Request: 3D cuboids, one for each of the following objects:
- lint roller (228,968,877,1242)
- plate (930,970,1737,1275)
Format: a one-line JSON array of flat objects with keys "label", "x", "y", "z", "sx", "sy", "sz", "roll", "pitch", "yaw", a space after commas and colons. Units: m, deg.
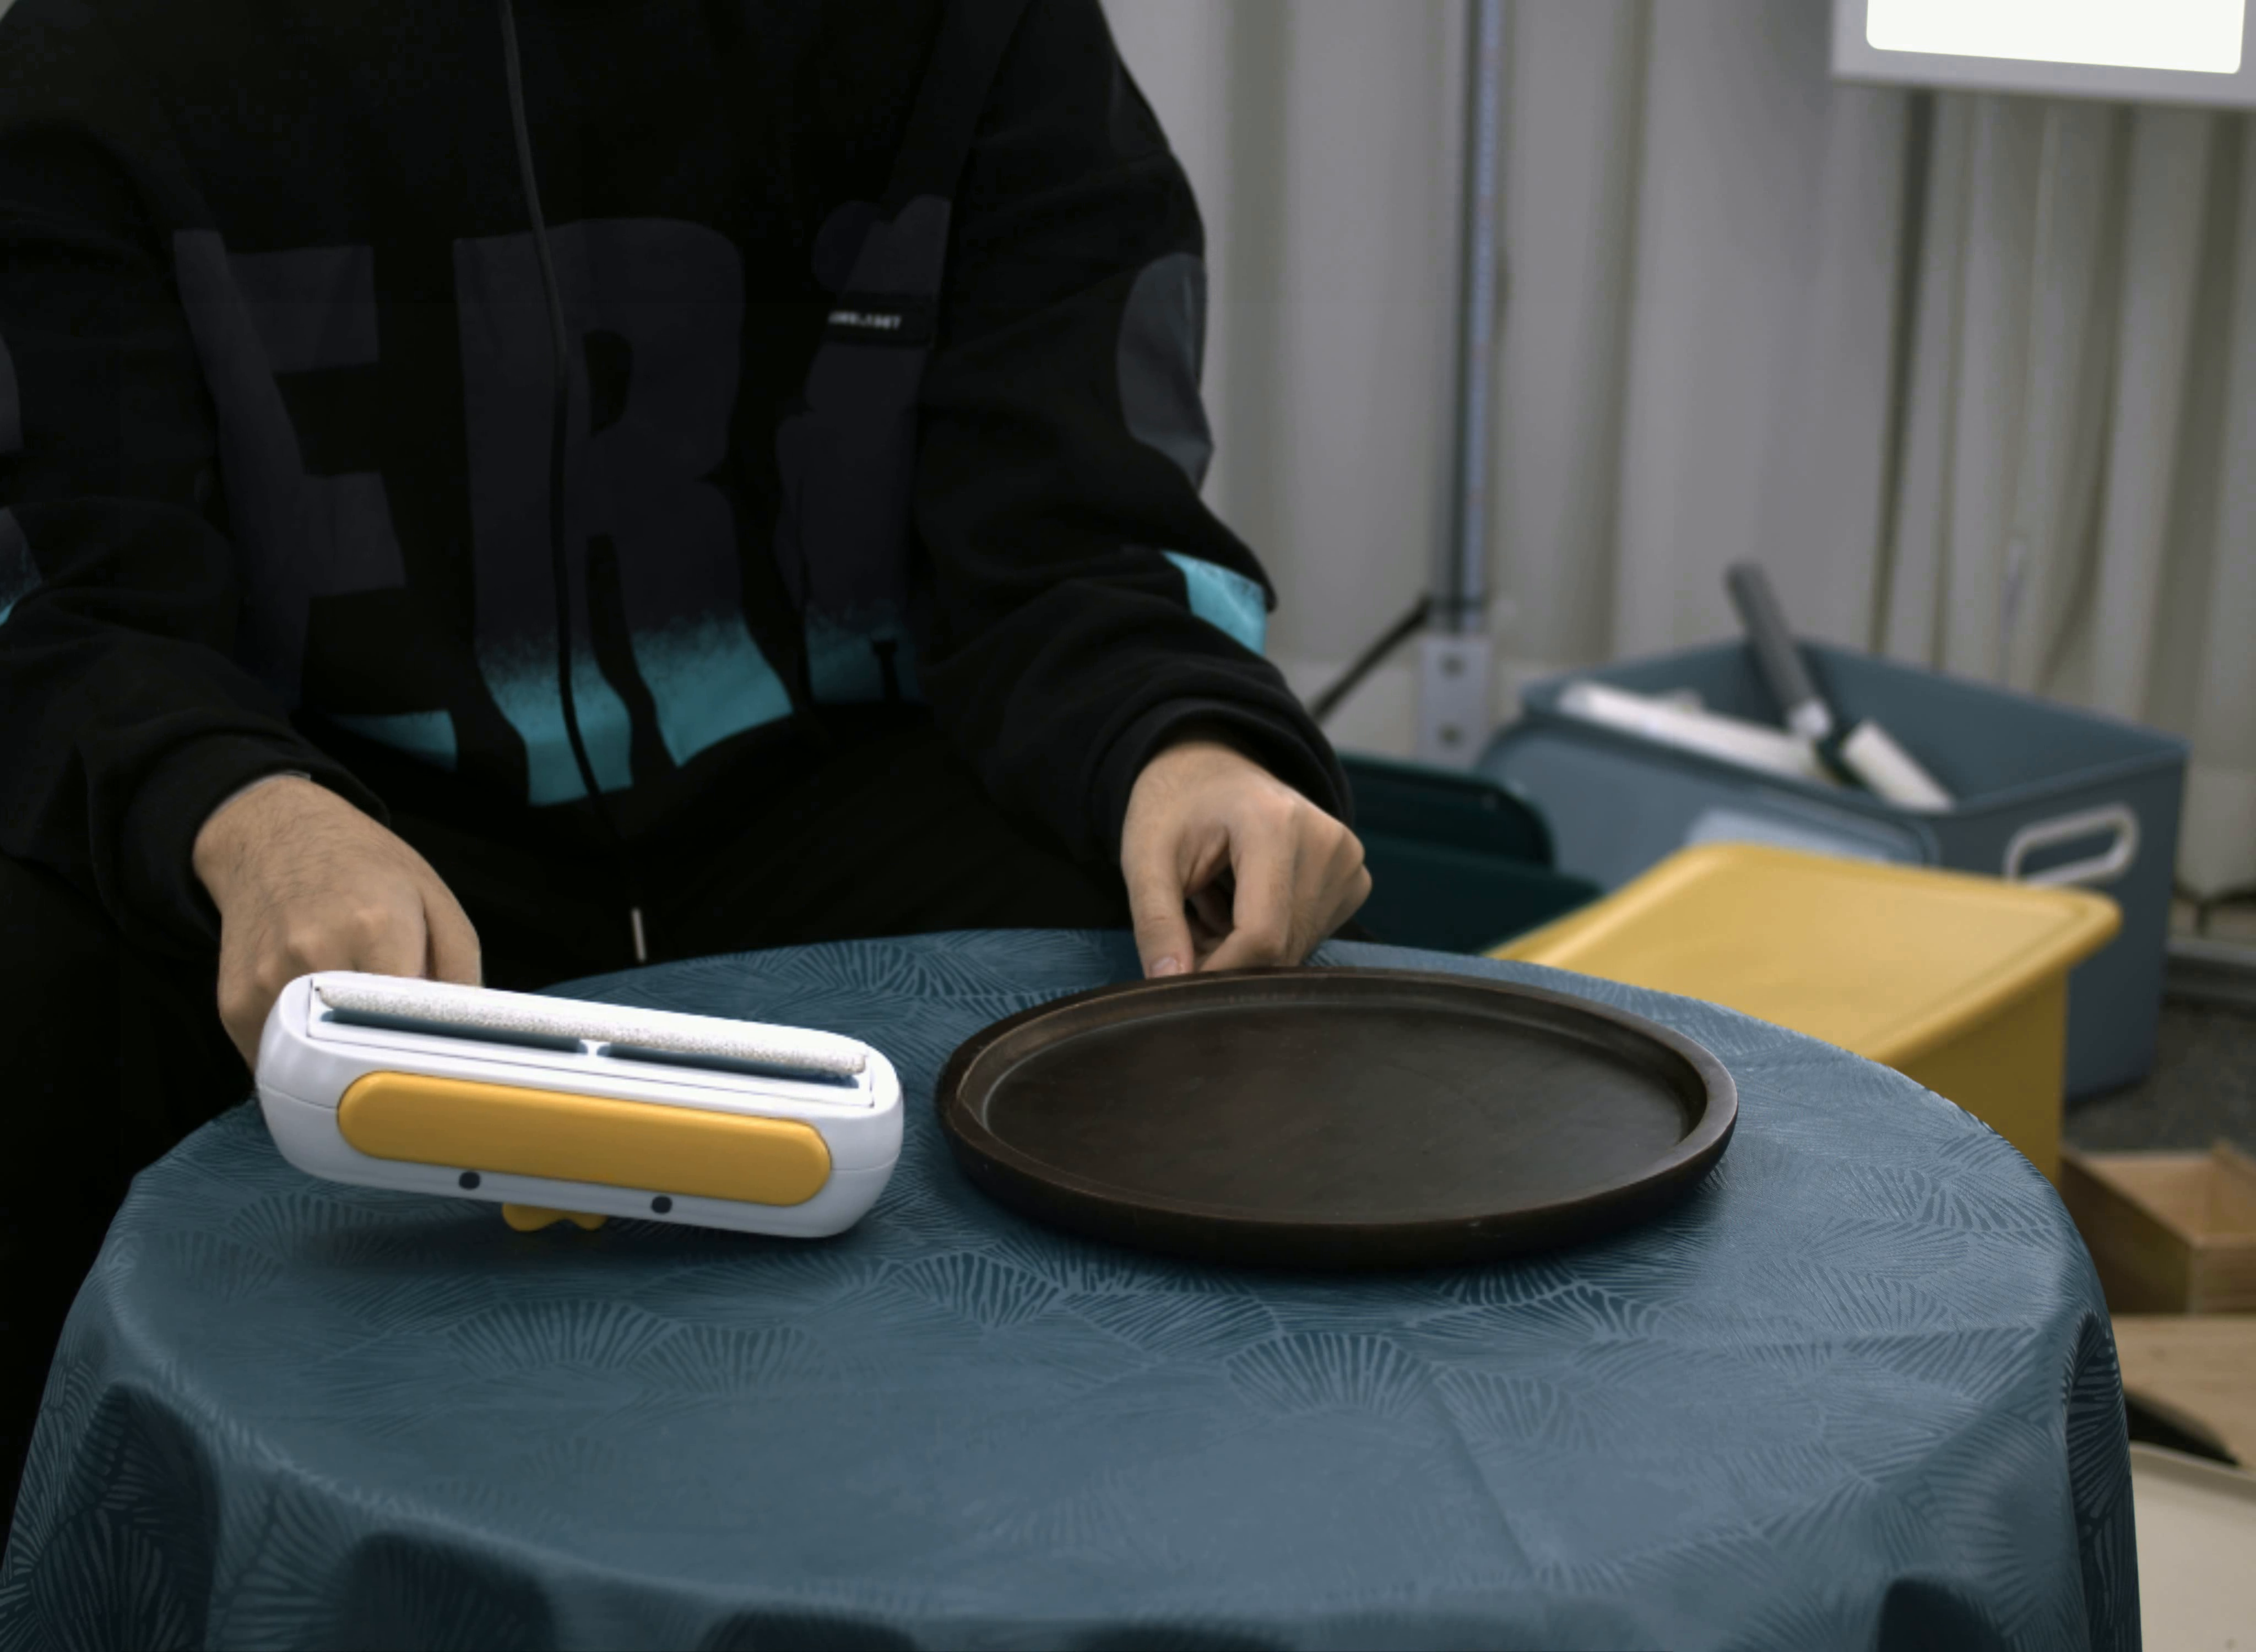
[{"label": "lint roller", "x": -0.175, "y": 0.075, "z": 1.622, "sx": 0.192, "sy": 0.075, "sz": 0.191, "roll": 4, "pitch": 13, "yaw": -6}, {"label": "plate", "x": 0.065, "y": 0.091, "z": 1.655, "sx": 0.254, "sy": 0.029, "sz": 0.253, "roll": 0, "pitch": 14, "yaw": 0}]
